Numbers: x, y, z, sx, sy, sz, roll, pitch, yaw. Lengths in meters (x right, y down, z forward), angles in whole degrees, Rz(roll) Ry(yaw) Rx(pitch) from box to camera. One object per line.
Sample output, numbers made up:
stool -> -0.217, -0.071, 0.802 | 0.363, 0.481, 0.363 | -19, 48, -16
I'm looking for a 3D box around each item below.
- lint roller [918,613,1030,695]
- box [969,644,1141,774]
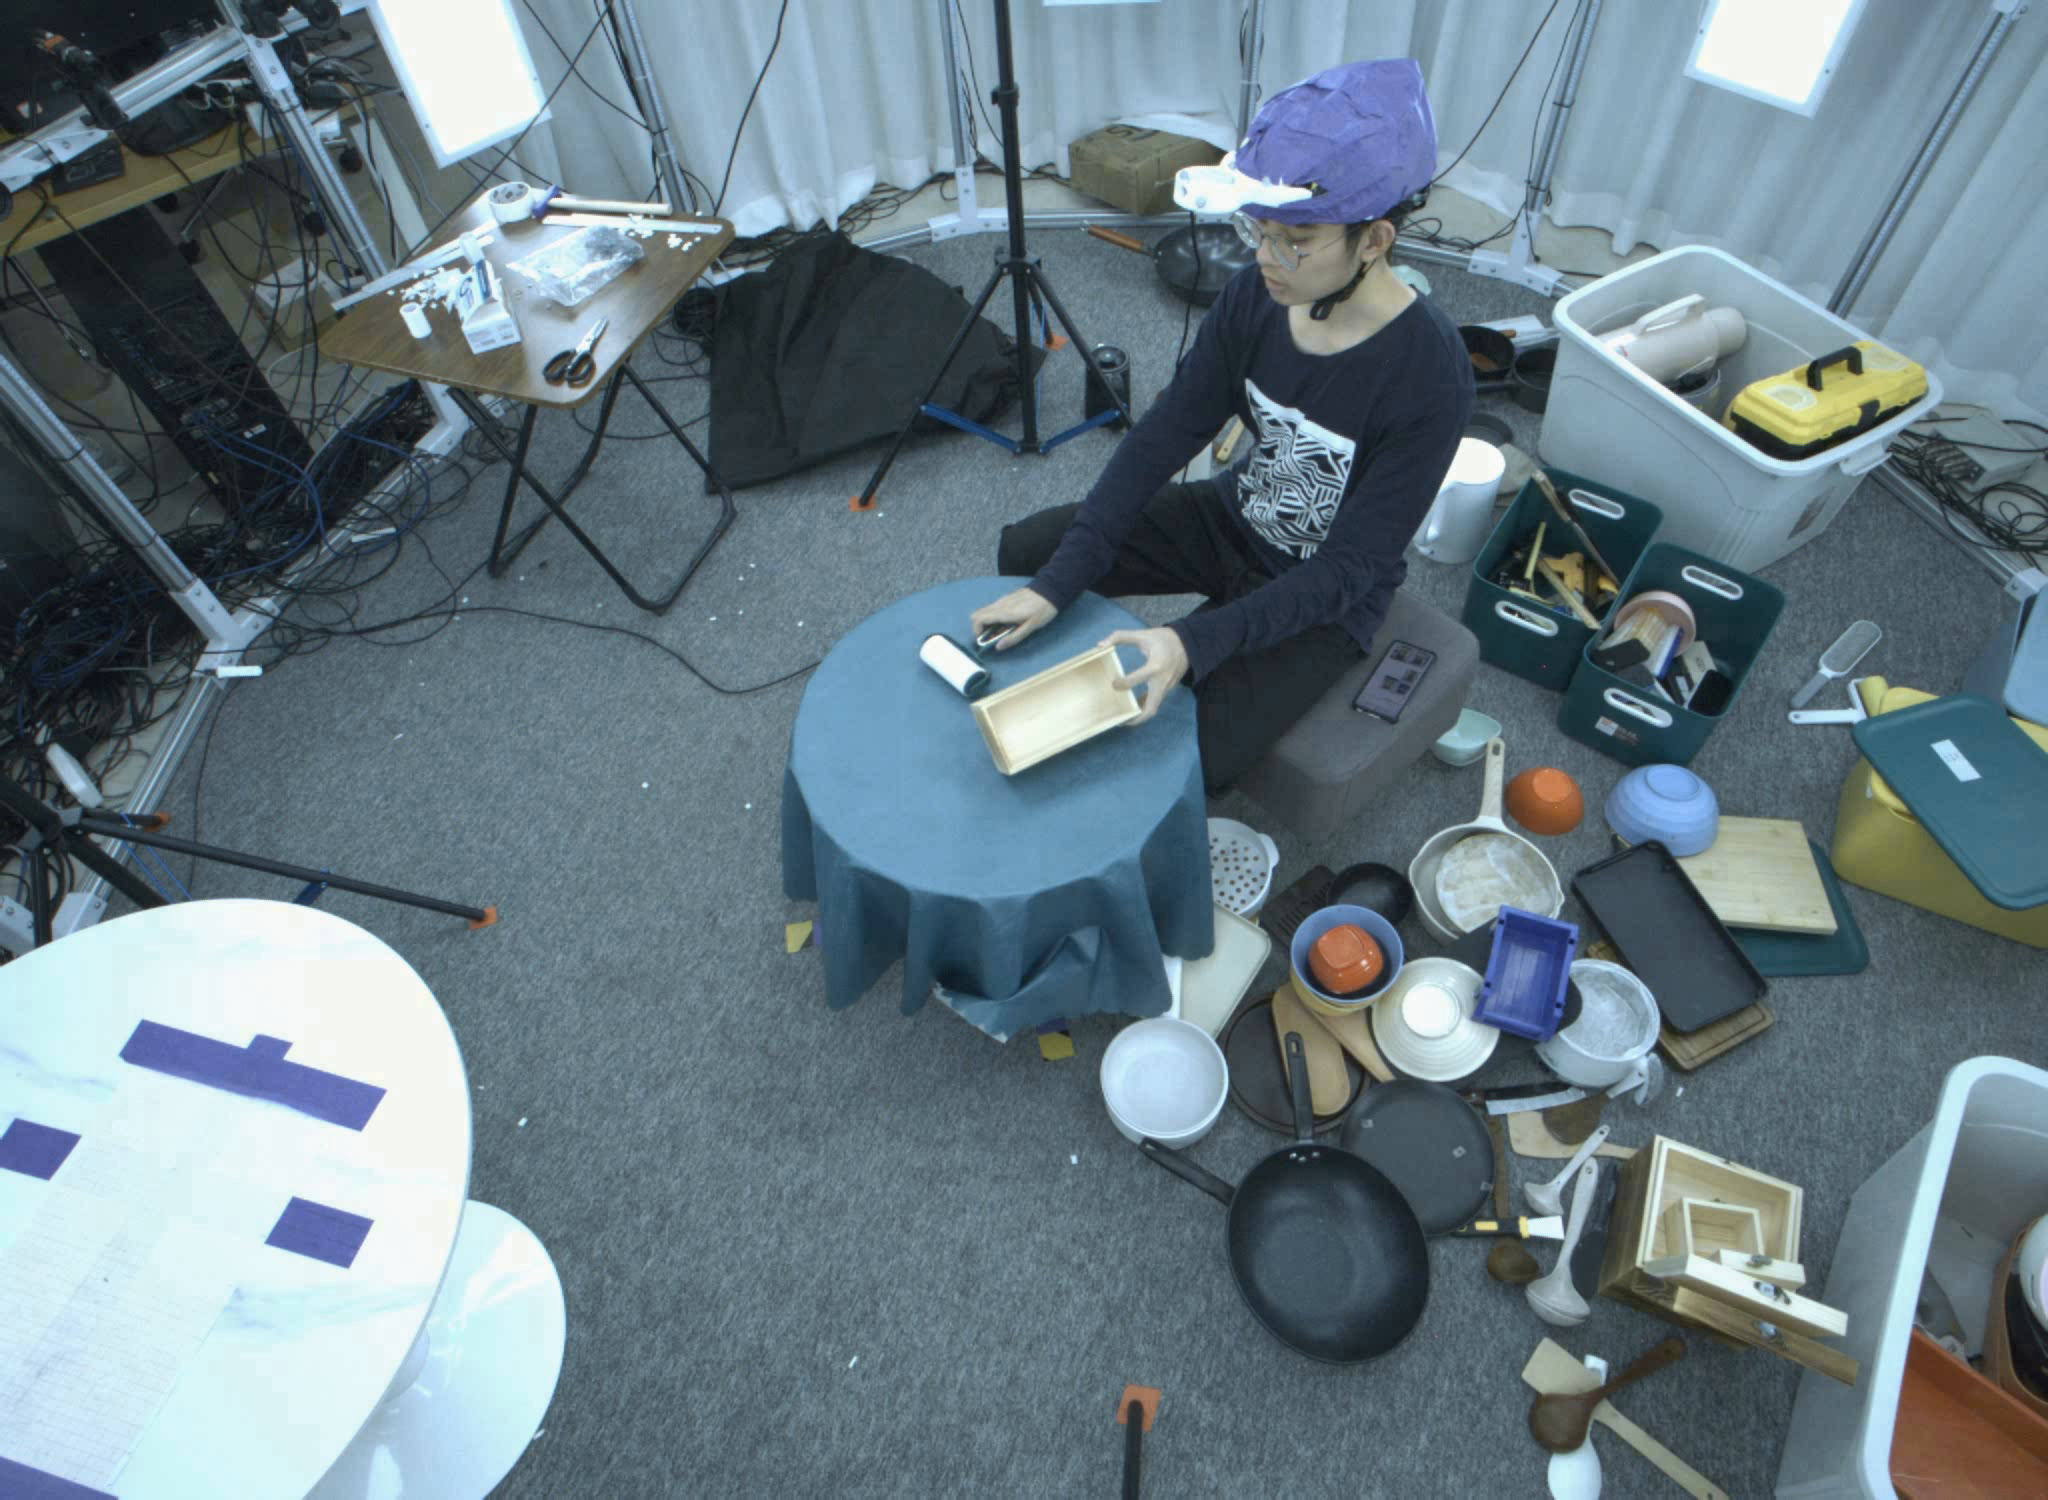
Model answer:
lint roller -> -0.060, -0.169, 1.882 | 0.181, 0.049, 0.132 | -40, 62, -20
box -> 0.043, -0.058, 1.750 | 0.213, 0.079, 0.108 | -26, 98, -14
